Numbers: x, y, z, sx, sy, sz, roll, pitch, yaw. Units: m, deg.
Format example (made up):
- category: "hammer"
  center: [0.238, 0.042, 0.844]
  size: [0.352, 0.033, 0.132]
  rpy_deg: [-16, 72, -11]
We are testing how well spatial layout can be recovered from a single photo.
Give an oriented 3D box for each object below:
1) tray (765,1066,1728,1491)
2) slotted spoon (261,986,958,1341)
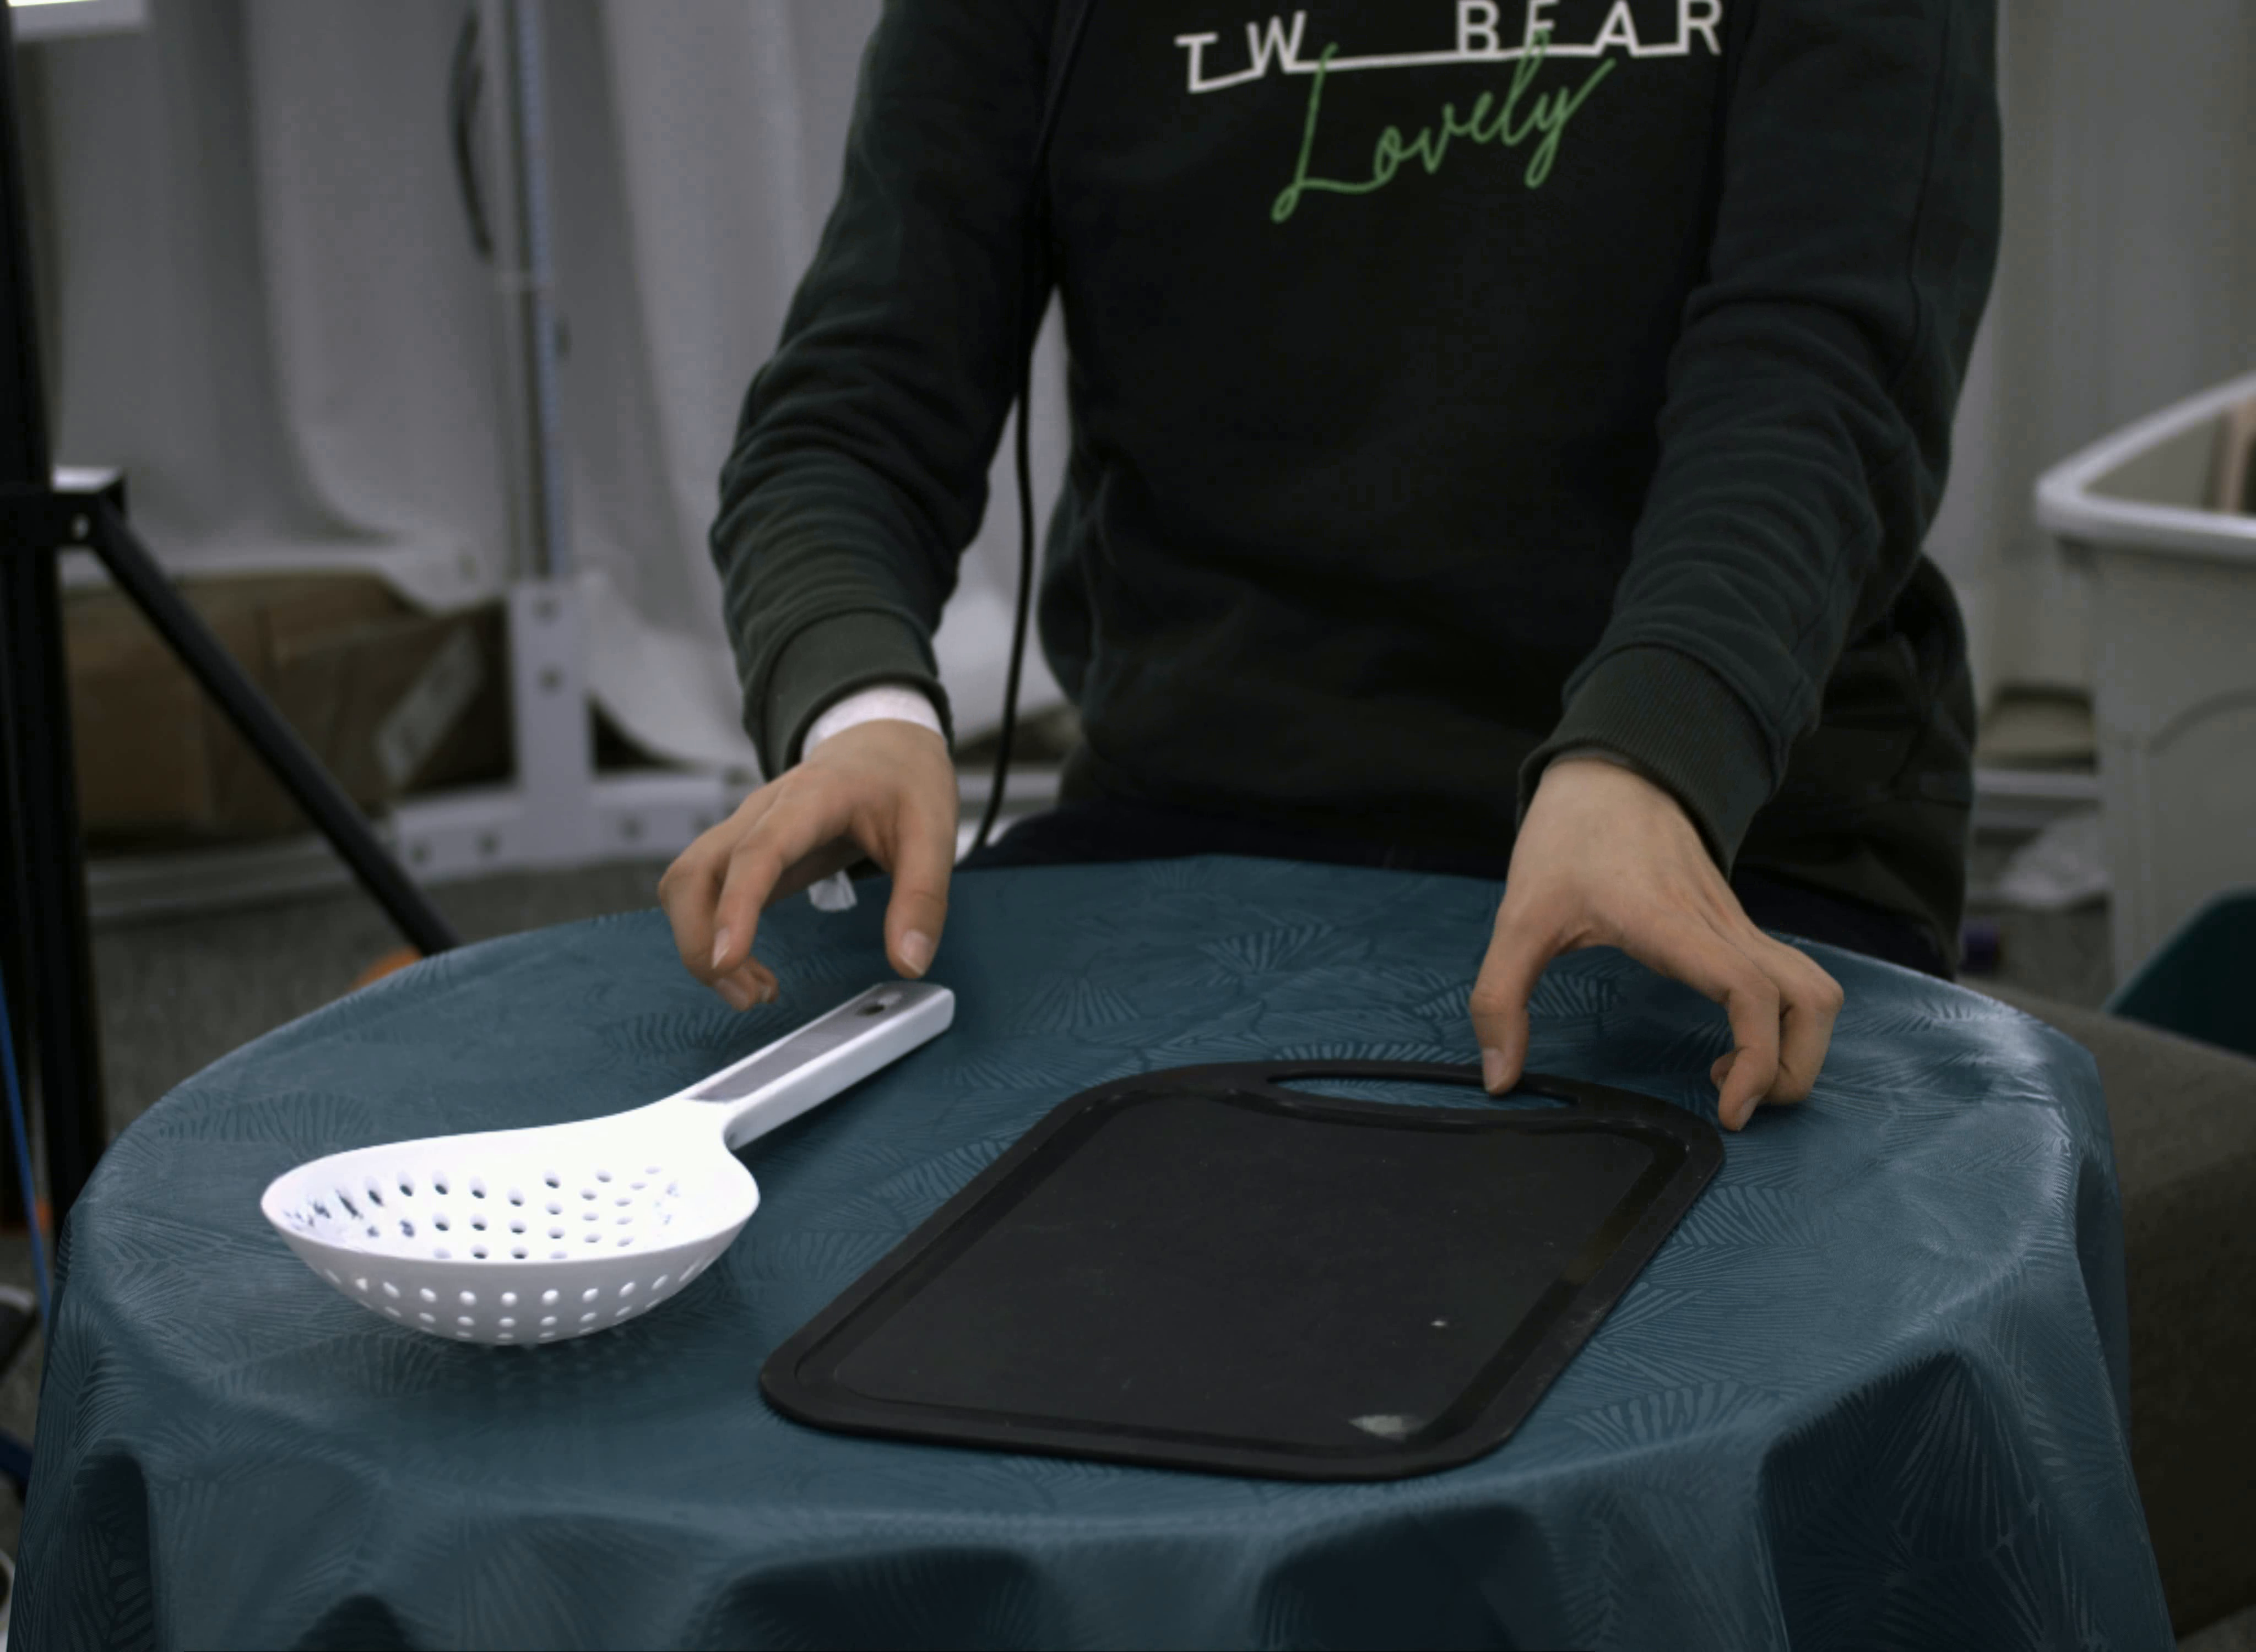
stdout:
- category: "tray"
  center: [0.043, 0.118, 1.502]
  size: [0.214, 0.010, 0.321]
  rpy_deg: [4, 17, 21]
- category: "slotted spoon"
  center: [-0.130, 0.089, 1.563]
  size: [0.138, 0.046, 0.345]
  rpy_deg: [6, 17, 21]
